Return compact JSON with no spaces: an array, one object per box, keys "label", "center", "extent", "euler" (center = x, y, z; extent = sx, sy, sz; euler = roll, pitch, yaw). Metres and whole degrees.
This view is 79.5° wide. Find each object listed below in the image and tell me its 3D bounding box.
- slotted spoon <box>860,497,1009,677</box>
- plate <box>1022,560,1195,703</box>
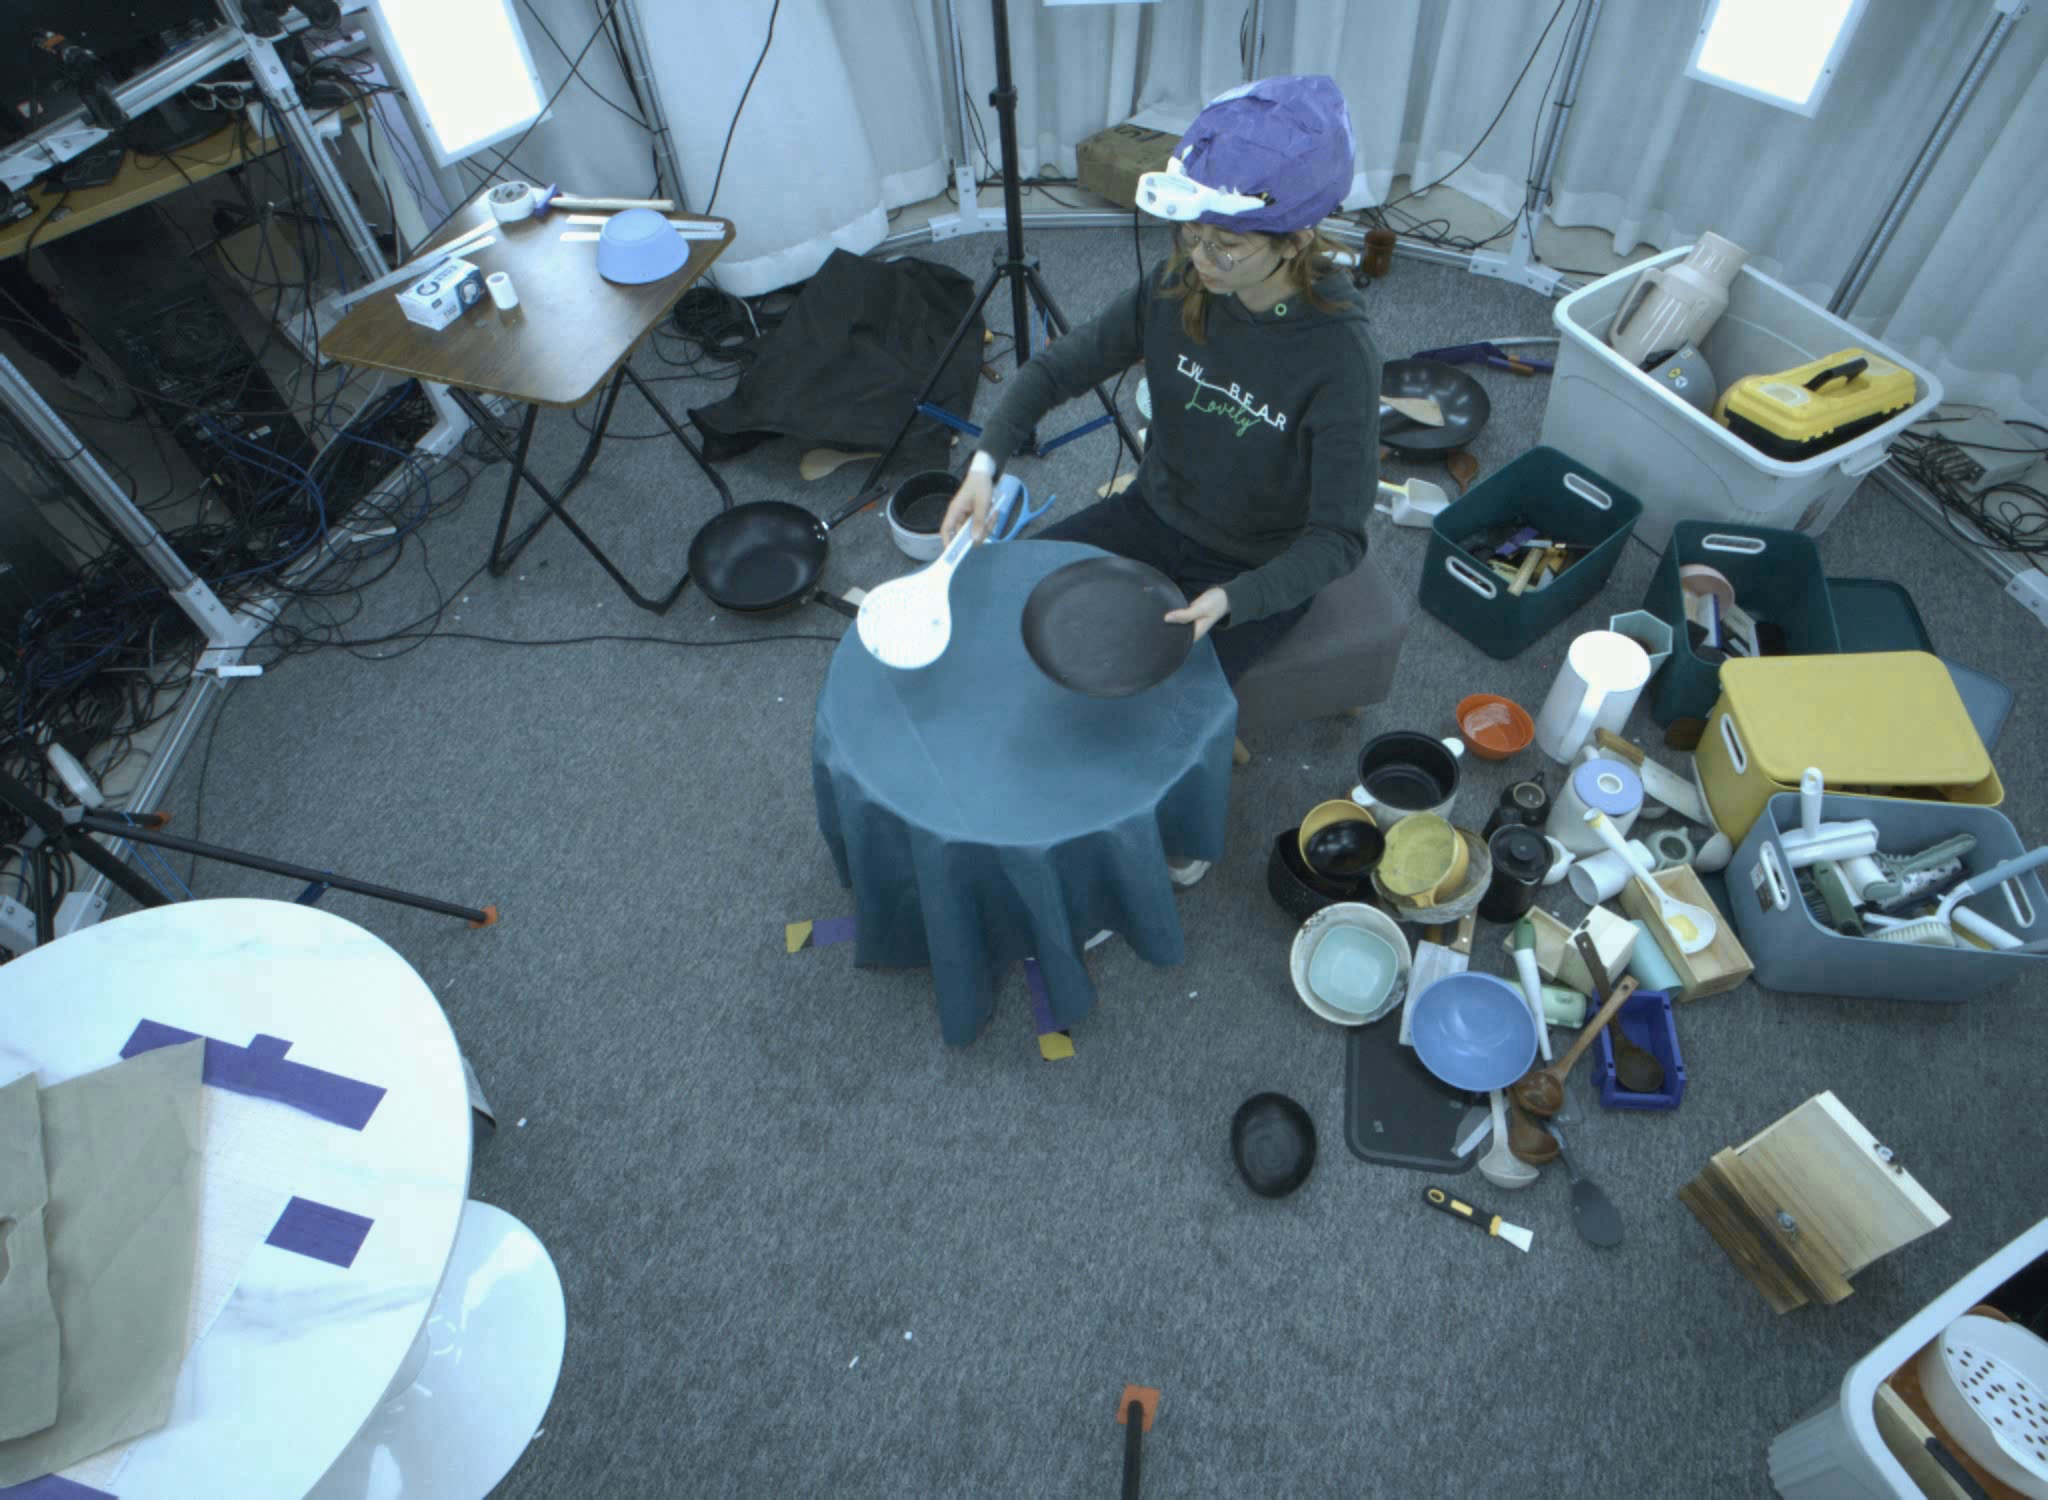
[{"label":"slotted spoon","center":[-0.122,-0.252,1.836],"extent":[0.137,0.045,0.350],"euler":[34,71,-5]},{"label":"plate","center":[0.118,-0.165,1.731],"extent":[0.244,0.023,0.242],"euler":[1,61,0]}]
